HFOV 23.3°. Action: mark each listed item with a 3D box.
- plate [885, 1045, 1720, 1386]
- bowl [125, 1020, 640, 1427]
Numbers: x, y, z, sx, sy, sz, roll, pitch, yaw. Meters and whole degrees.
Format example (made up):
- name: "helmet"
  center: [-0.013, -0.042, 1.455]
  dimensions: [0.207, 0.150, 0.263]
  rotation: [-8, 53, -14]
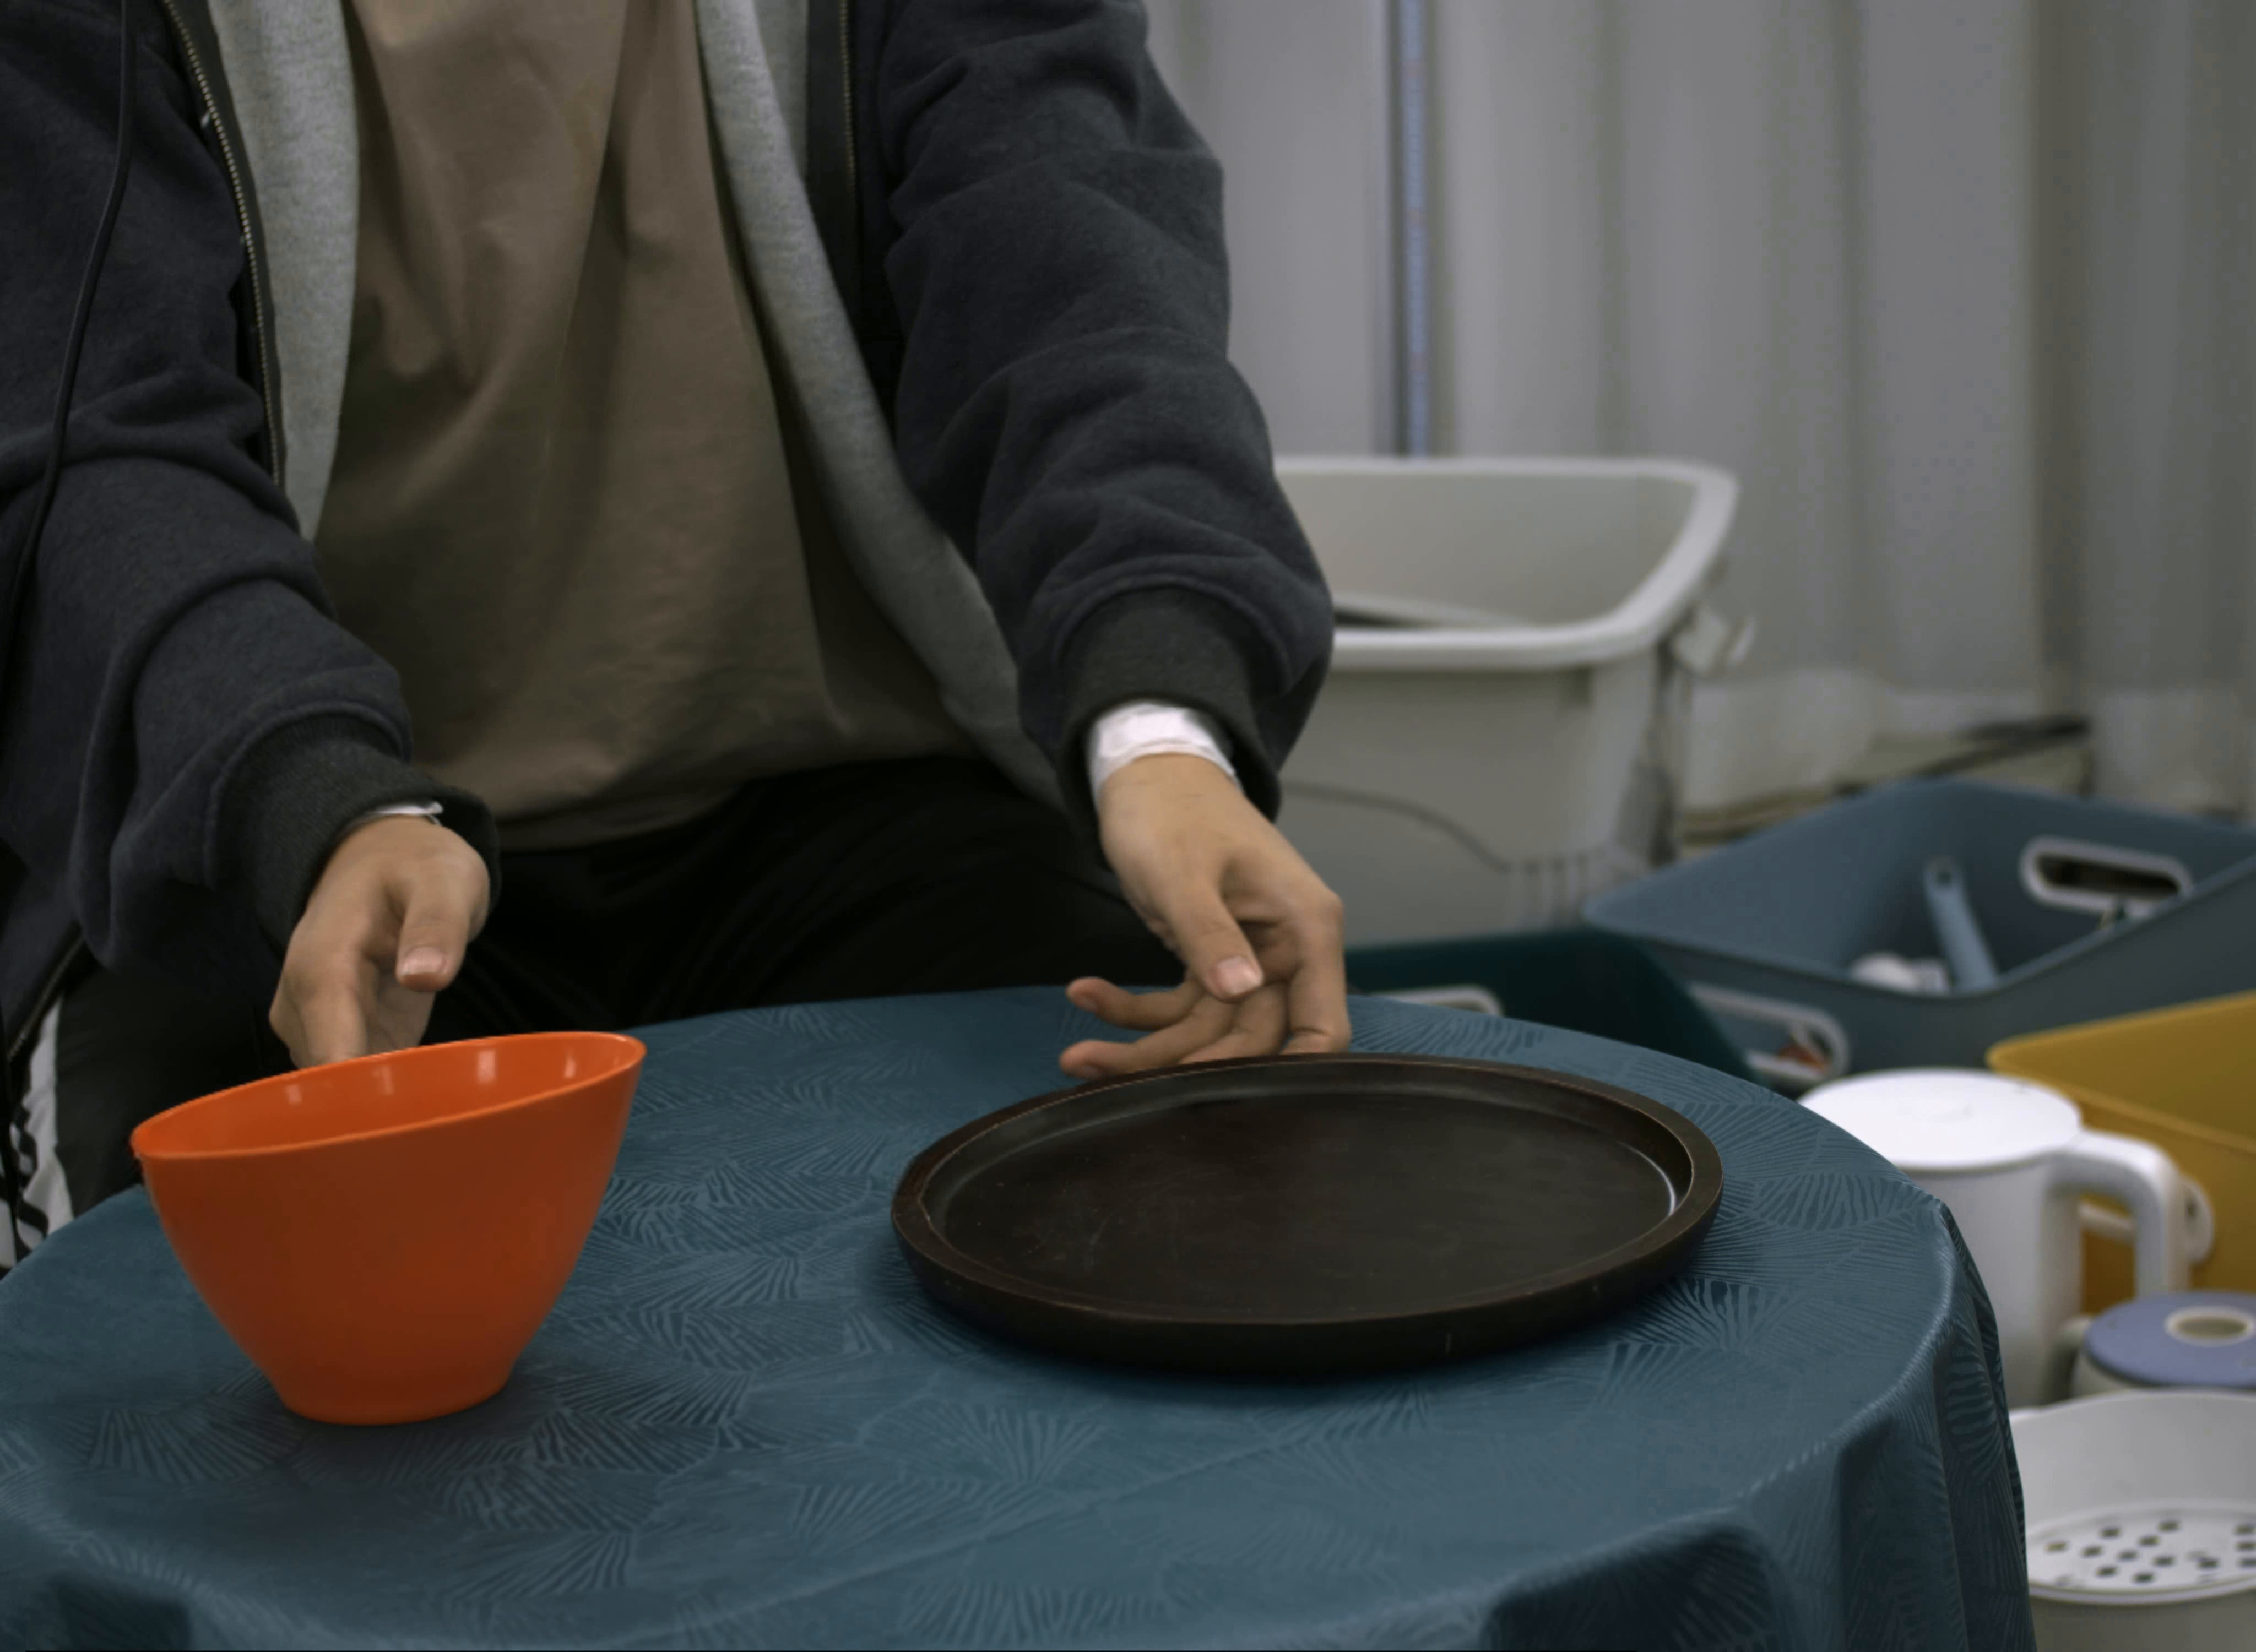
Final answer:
- name: "plate"
  center: [0.053, 0.116, 1.655]
  dimensions: [0.254, 0.029, 0.256]
  rotation: [-4, 15, 1]
- name: "bowl"
  center: [-0.208, 0.114, 1.561]
  dimensions: [0.147, 0.104, 0.149]
  rotation: [-4, 16, 1]
